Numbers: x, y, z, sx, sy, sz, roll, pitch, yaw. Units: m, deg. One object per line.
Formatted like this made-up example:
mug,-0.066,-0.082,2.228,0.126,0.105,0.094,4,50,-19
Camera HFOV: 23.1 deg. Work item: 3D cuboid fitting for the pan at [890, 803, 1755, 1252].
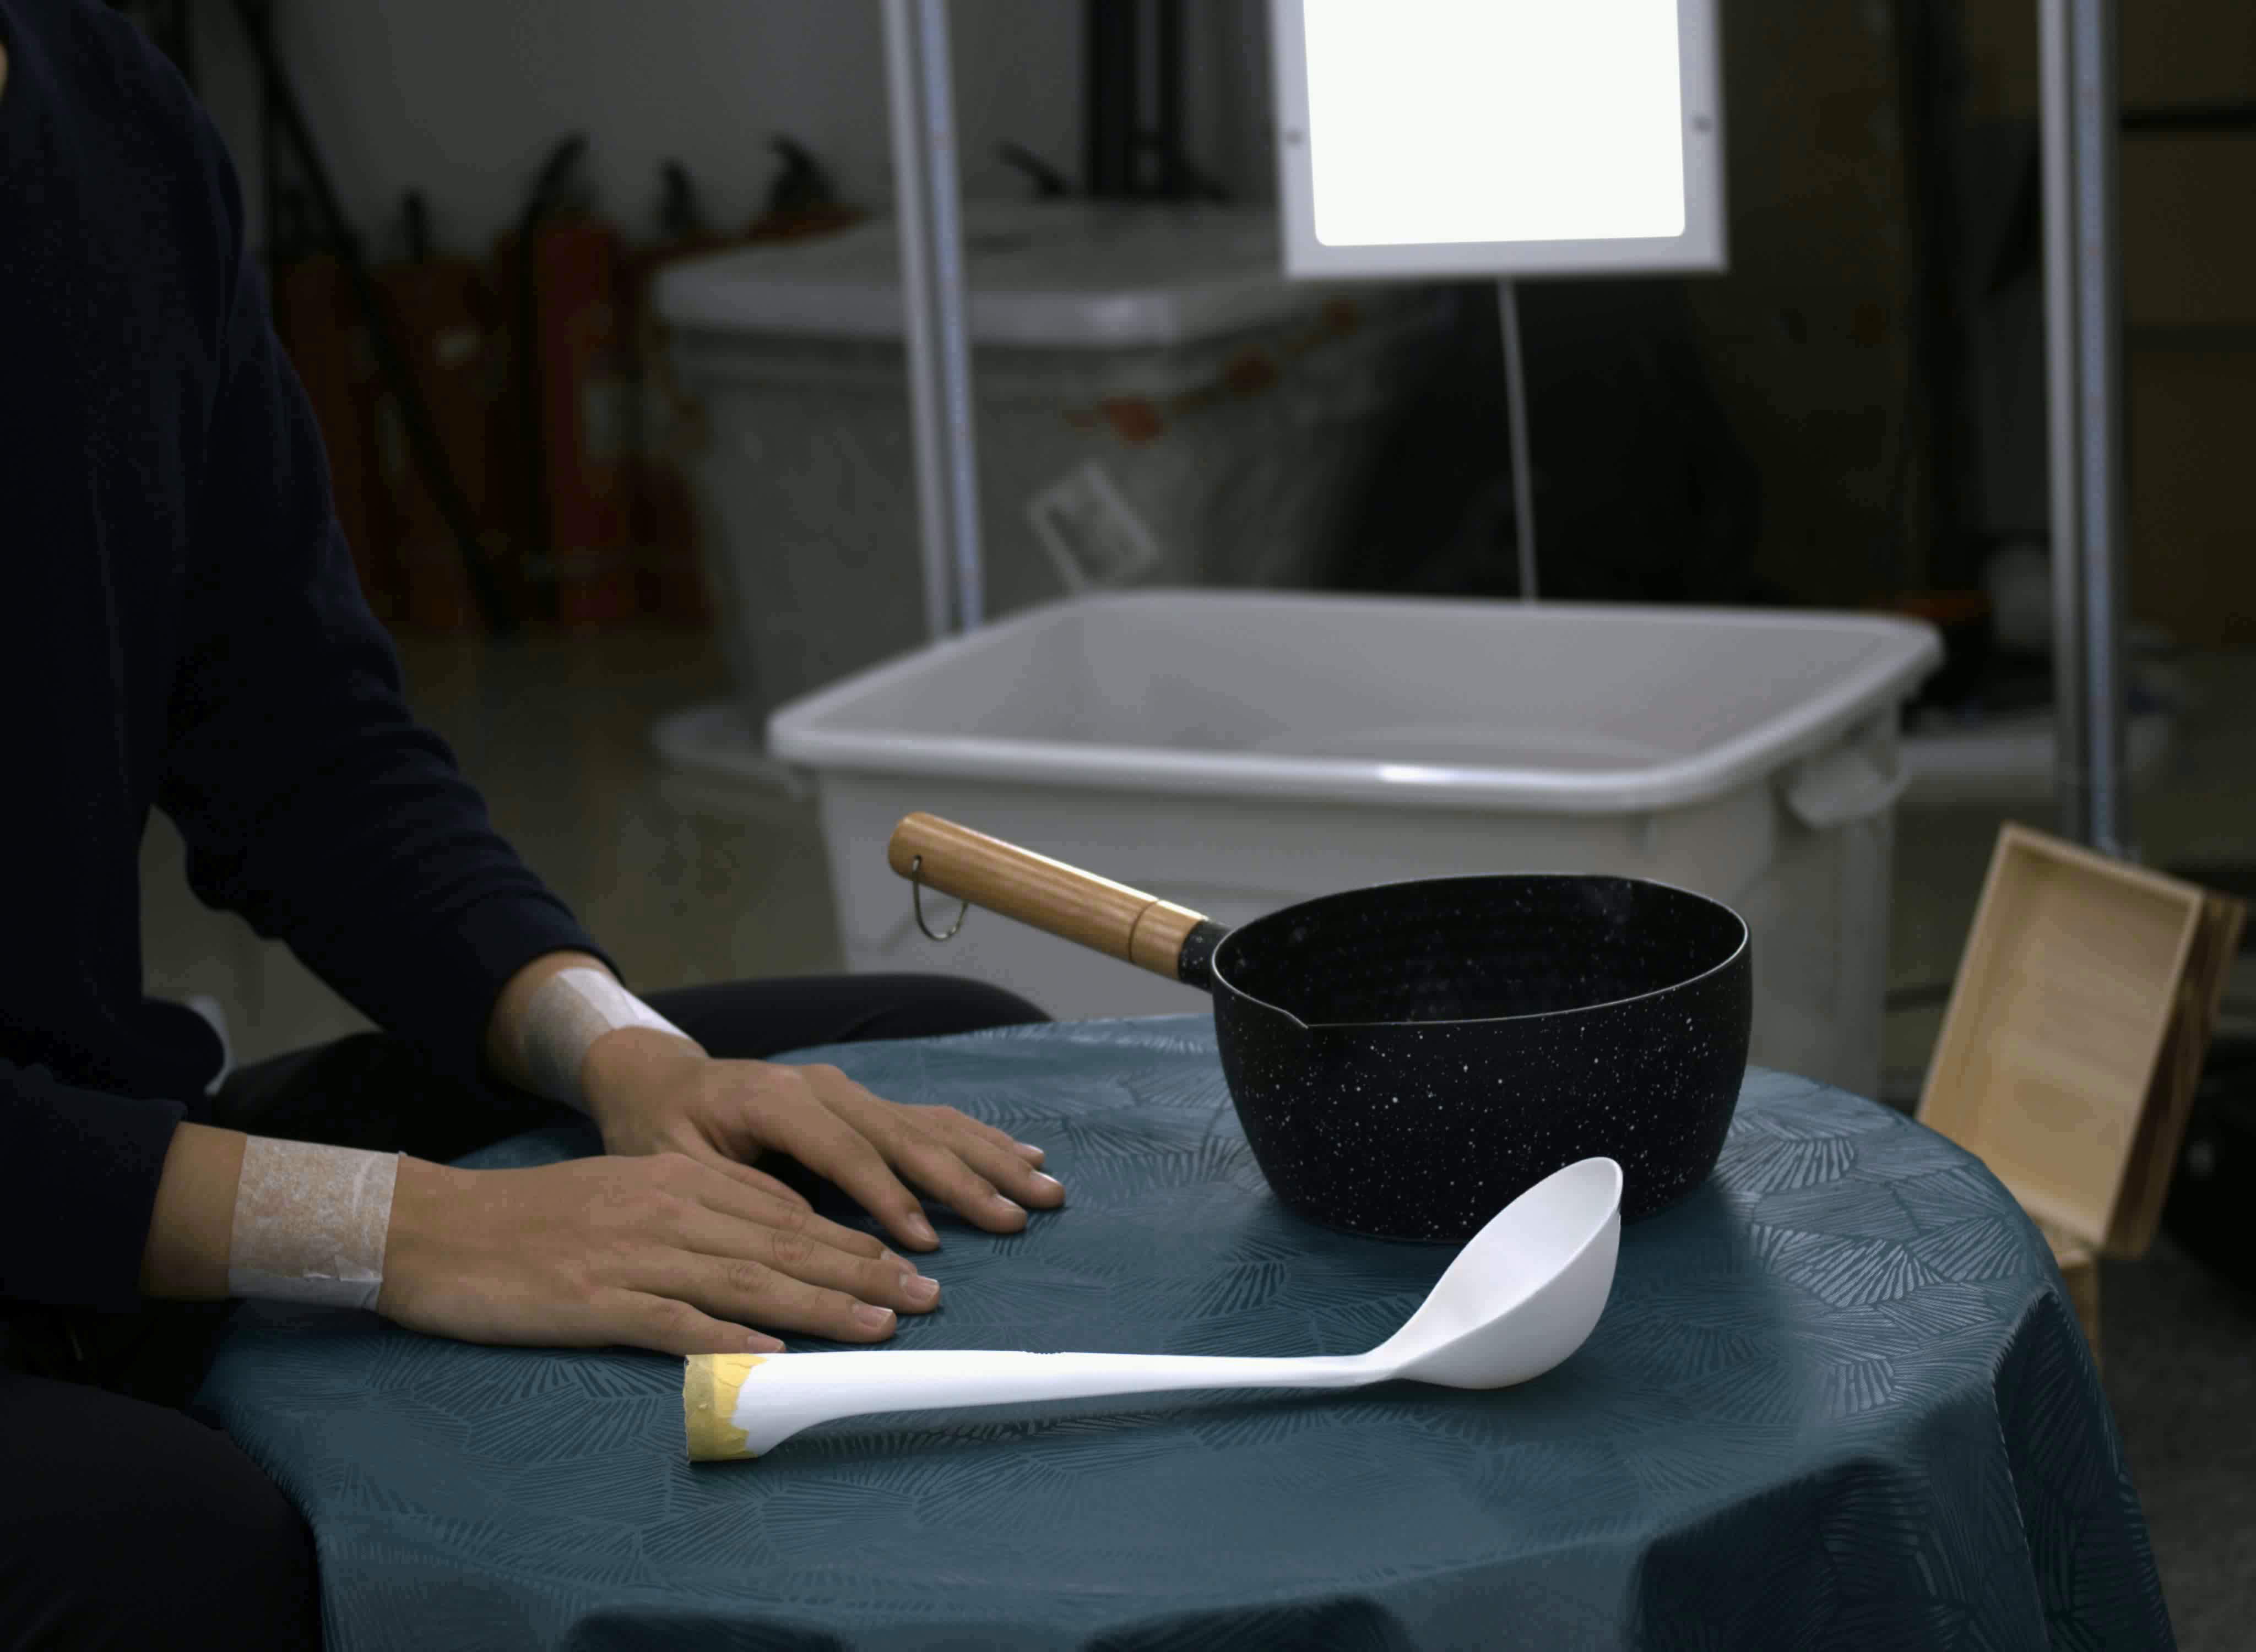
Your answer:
pan,0.057,0.062,1.912,0.350,0.108,0.202,7,19,36

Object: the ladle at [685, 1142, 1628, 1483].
ladle,0.009,0.150,1.664,0.292,0.070,0.090,-6,18,1
